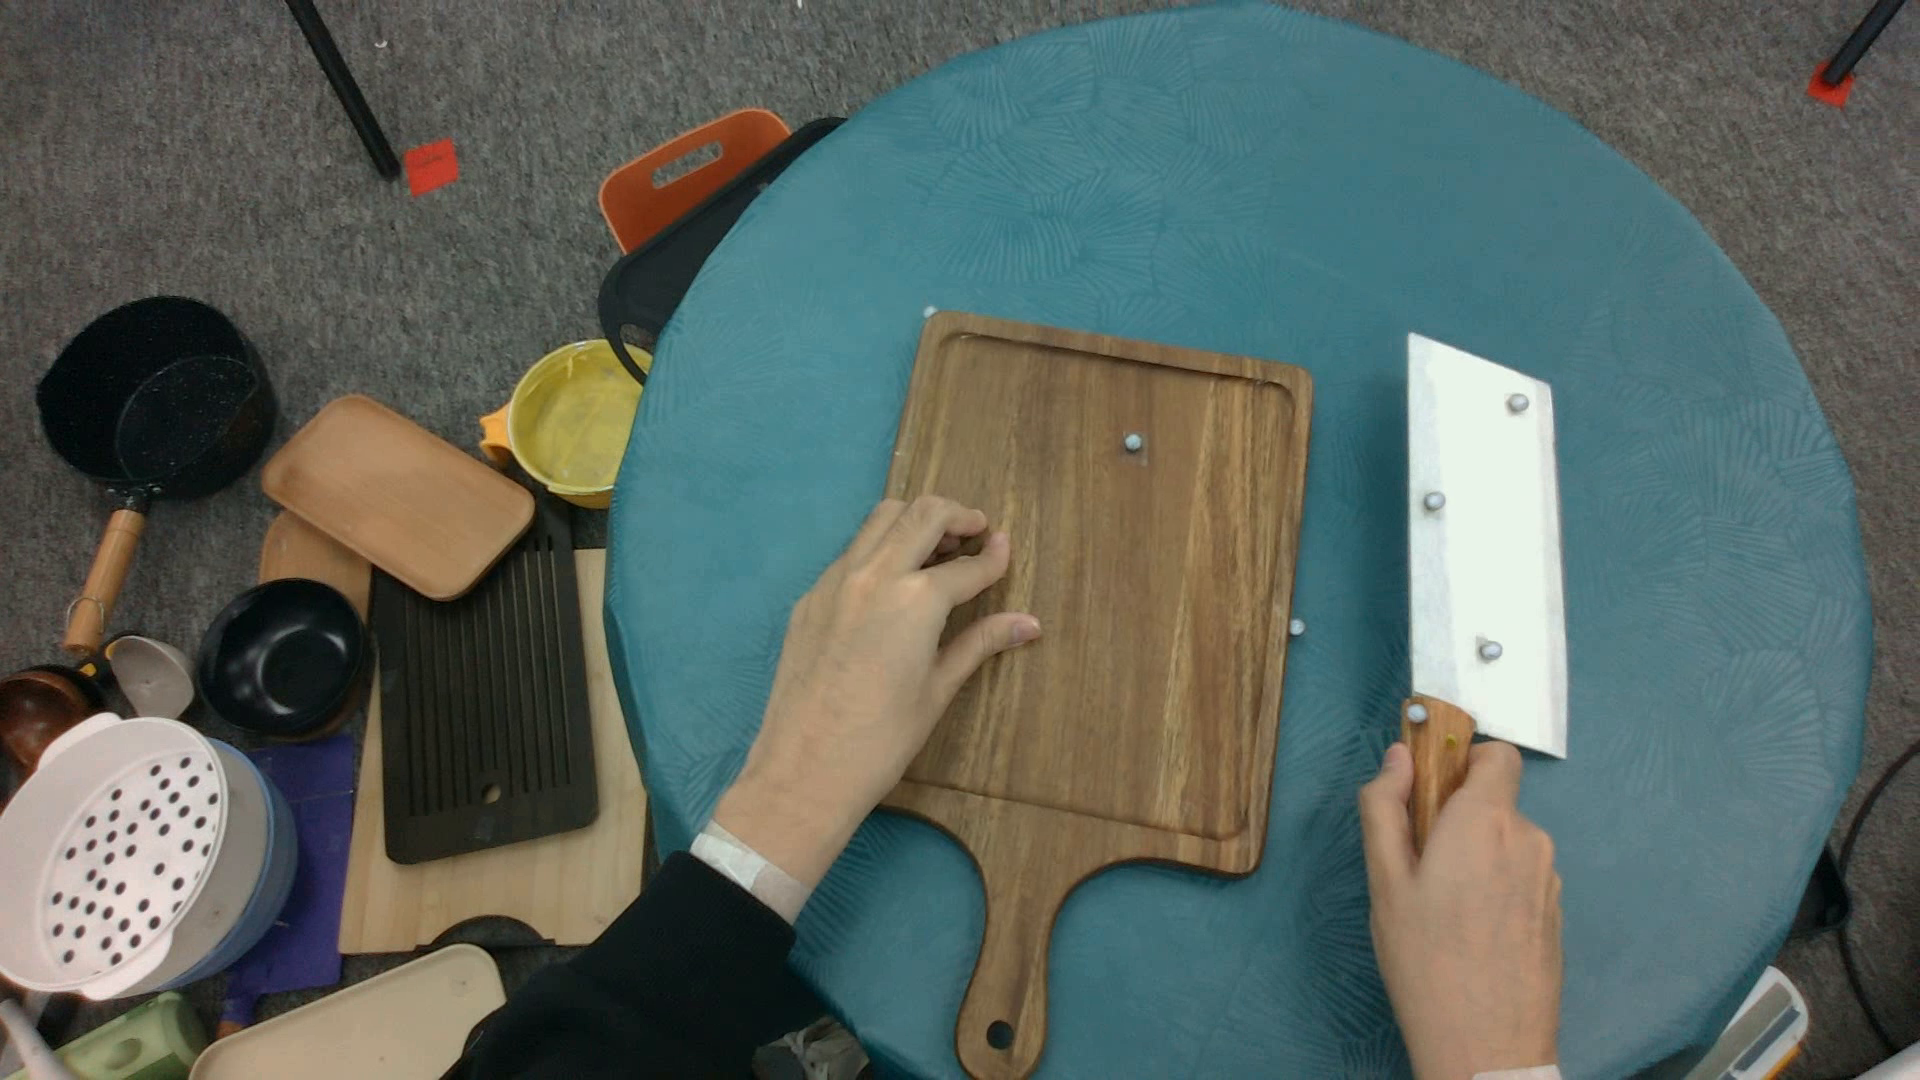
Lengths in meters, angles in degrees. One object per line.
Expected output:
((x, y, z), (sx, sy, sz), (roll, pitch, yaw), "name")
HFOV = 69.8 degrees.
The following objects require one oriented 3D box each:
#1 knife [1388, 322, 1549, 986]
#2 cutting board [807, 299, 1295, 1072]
((0.230, 0.044, 0.617), (0.093, 0.021, 0.307), (17, 66, -25), "knife")
((0.040, 0.056, 0.629), (0.201, 0.023, 0.353), (9, 70, 4), "cutting board")
